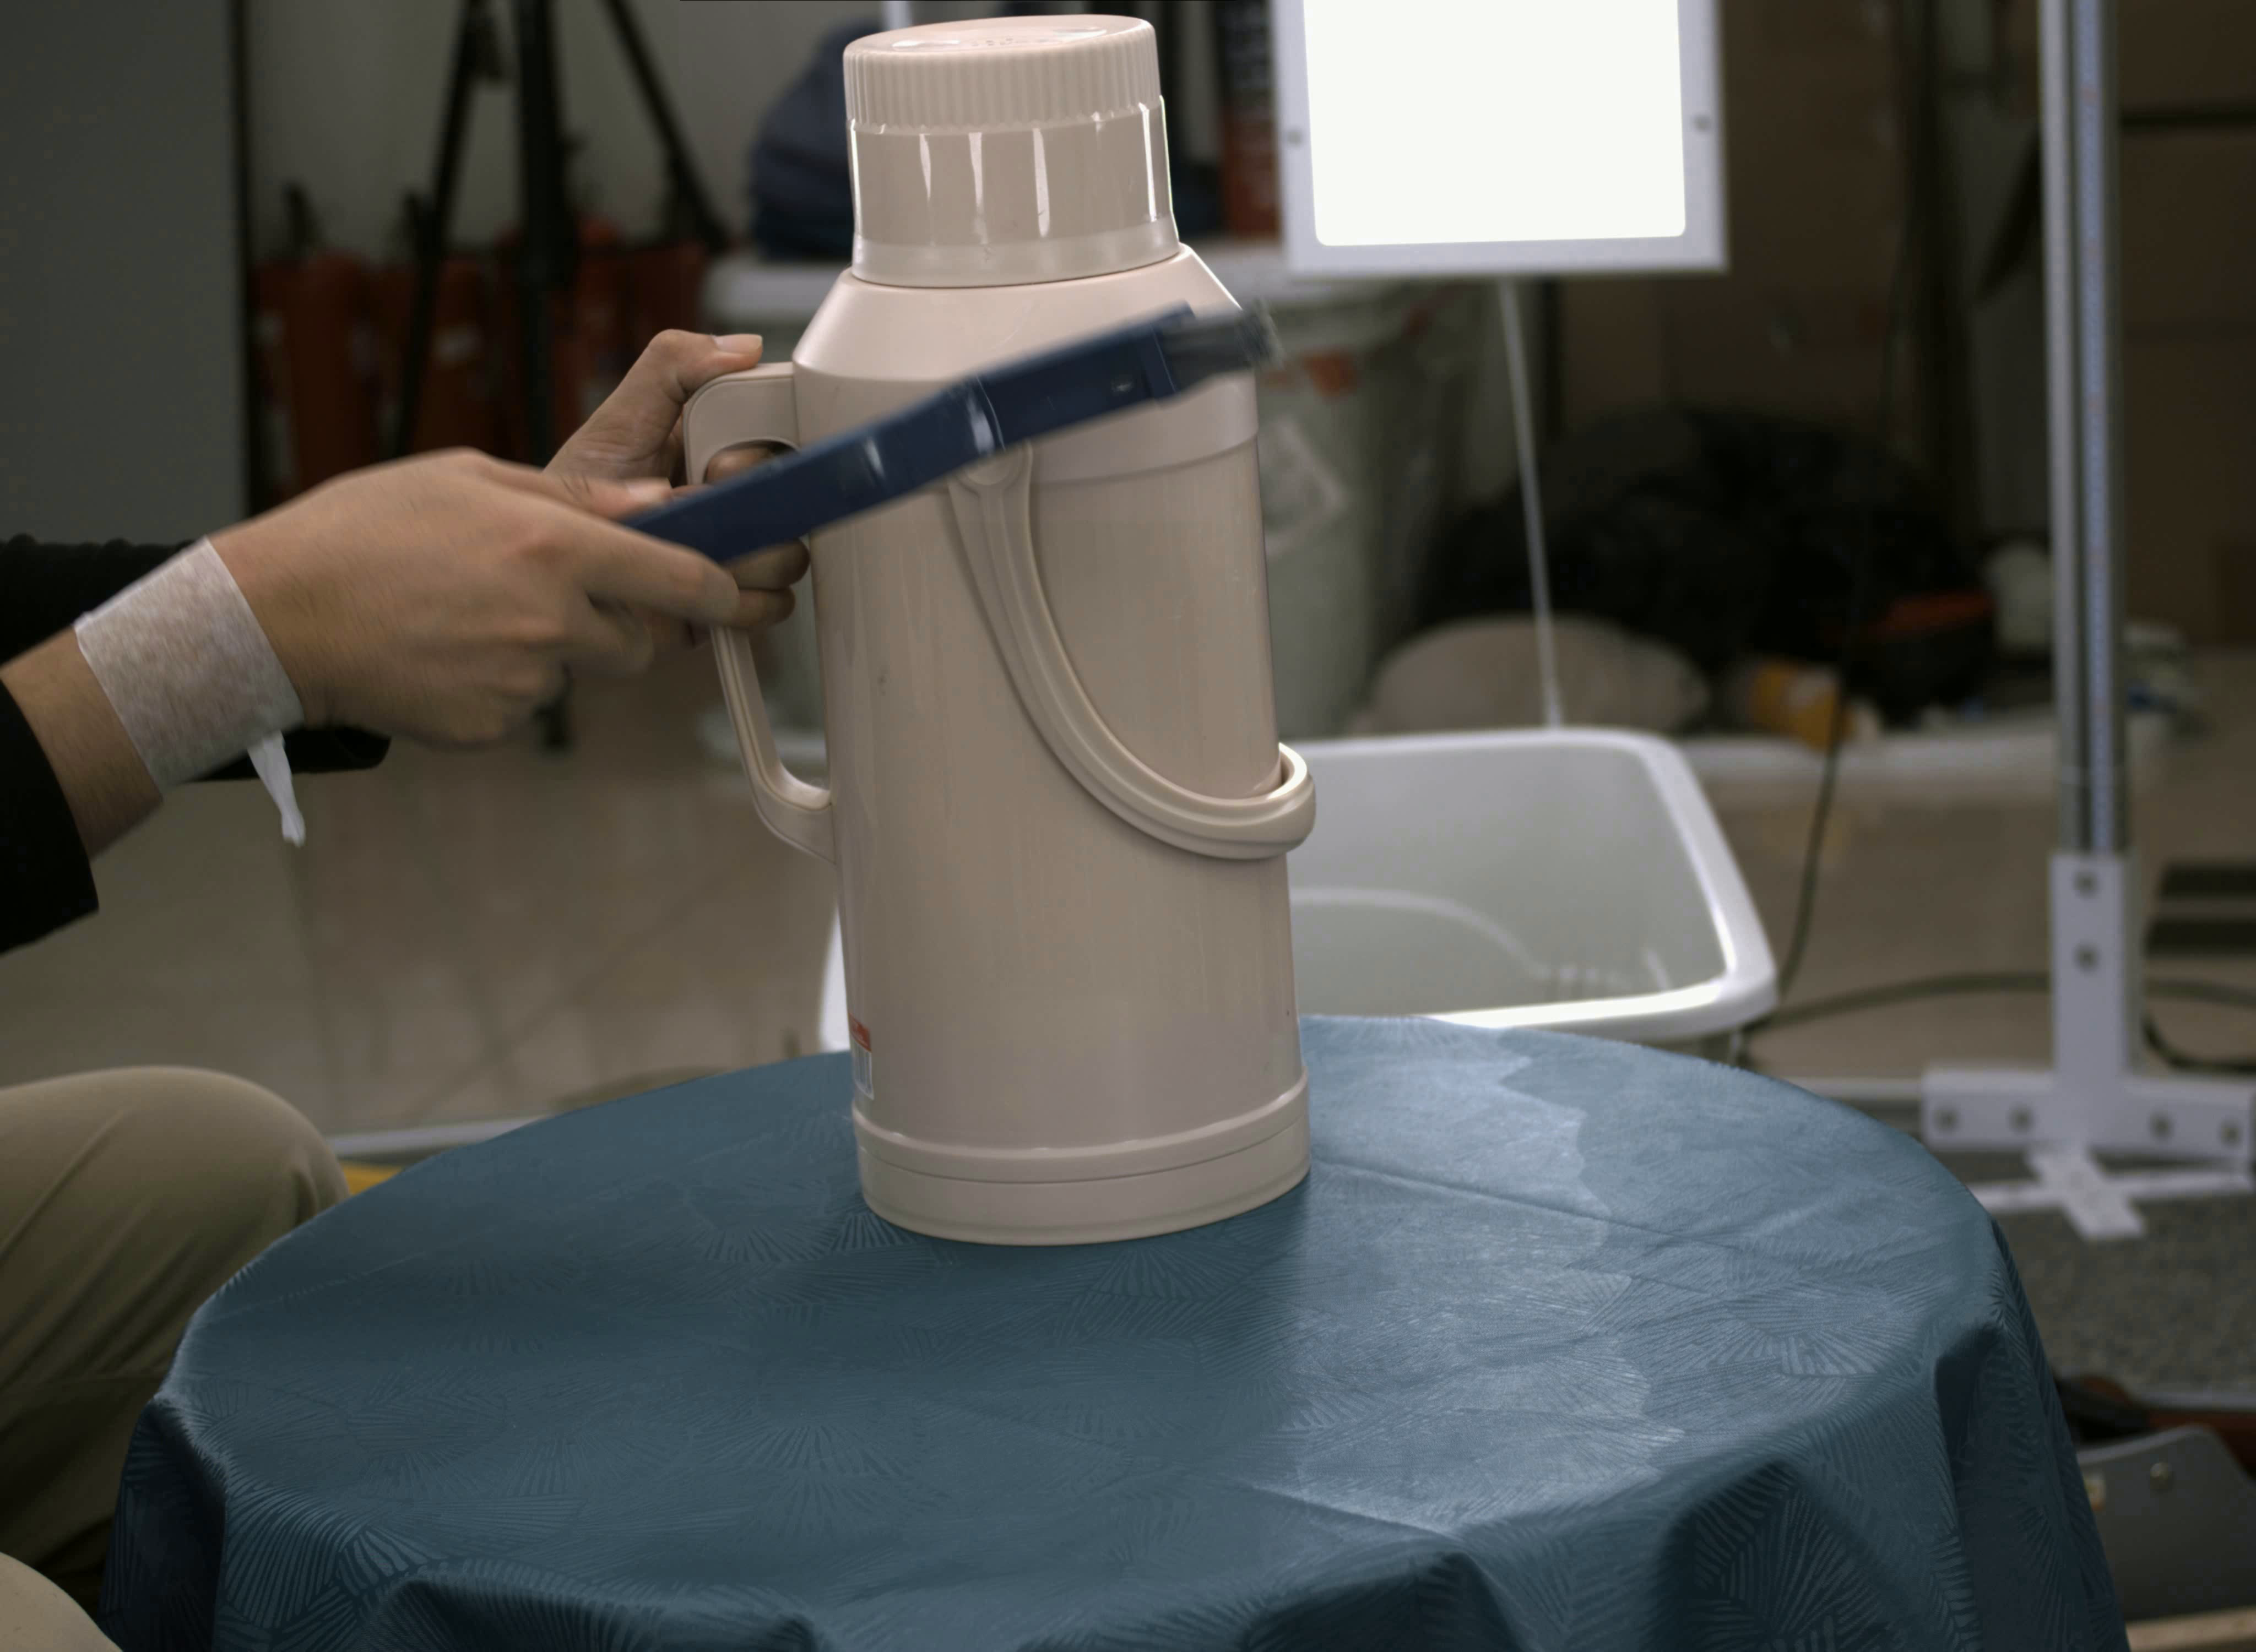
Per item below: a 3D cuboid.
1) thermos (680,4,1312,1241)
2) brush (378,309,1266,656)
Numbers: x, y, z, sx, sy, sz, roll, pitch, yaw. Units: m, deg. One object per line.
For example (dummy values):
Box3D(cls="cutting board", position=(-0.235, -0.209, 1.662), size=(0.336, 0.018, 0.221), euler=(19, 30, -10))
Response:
Box3D(cls="thermos", position=(-0.044, -0.070, 1.881), size=(0.208, 0.408, 0.174), euler=(-2, 16, 9))
Box3D(cls="brush", position=(-0.096, -0.111, 1.701), size=(0.271, 0.033, 0.096), euler=(-22, 15, -8))
